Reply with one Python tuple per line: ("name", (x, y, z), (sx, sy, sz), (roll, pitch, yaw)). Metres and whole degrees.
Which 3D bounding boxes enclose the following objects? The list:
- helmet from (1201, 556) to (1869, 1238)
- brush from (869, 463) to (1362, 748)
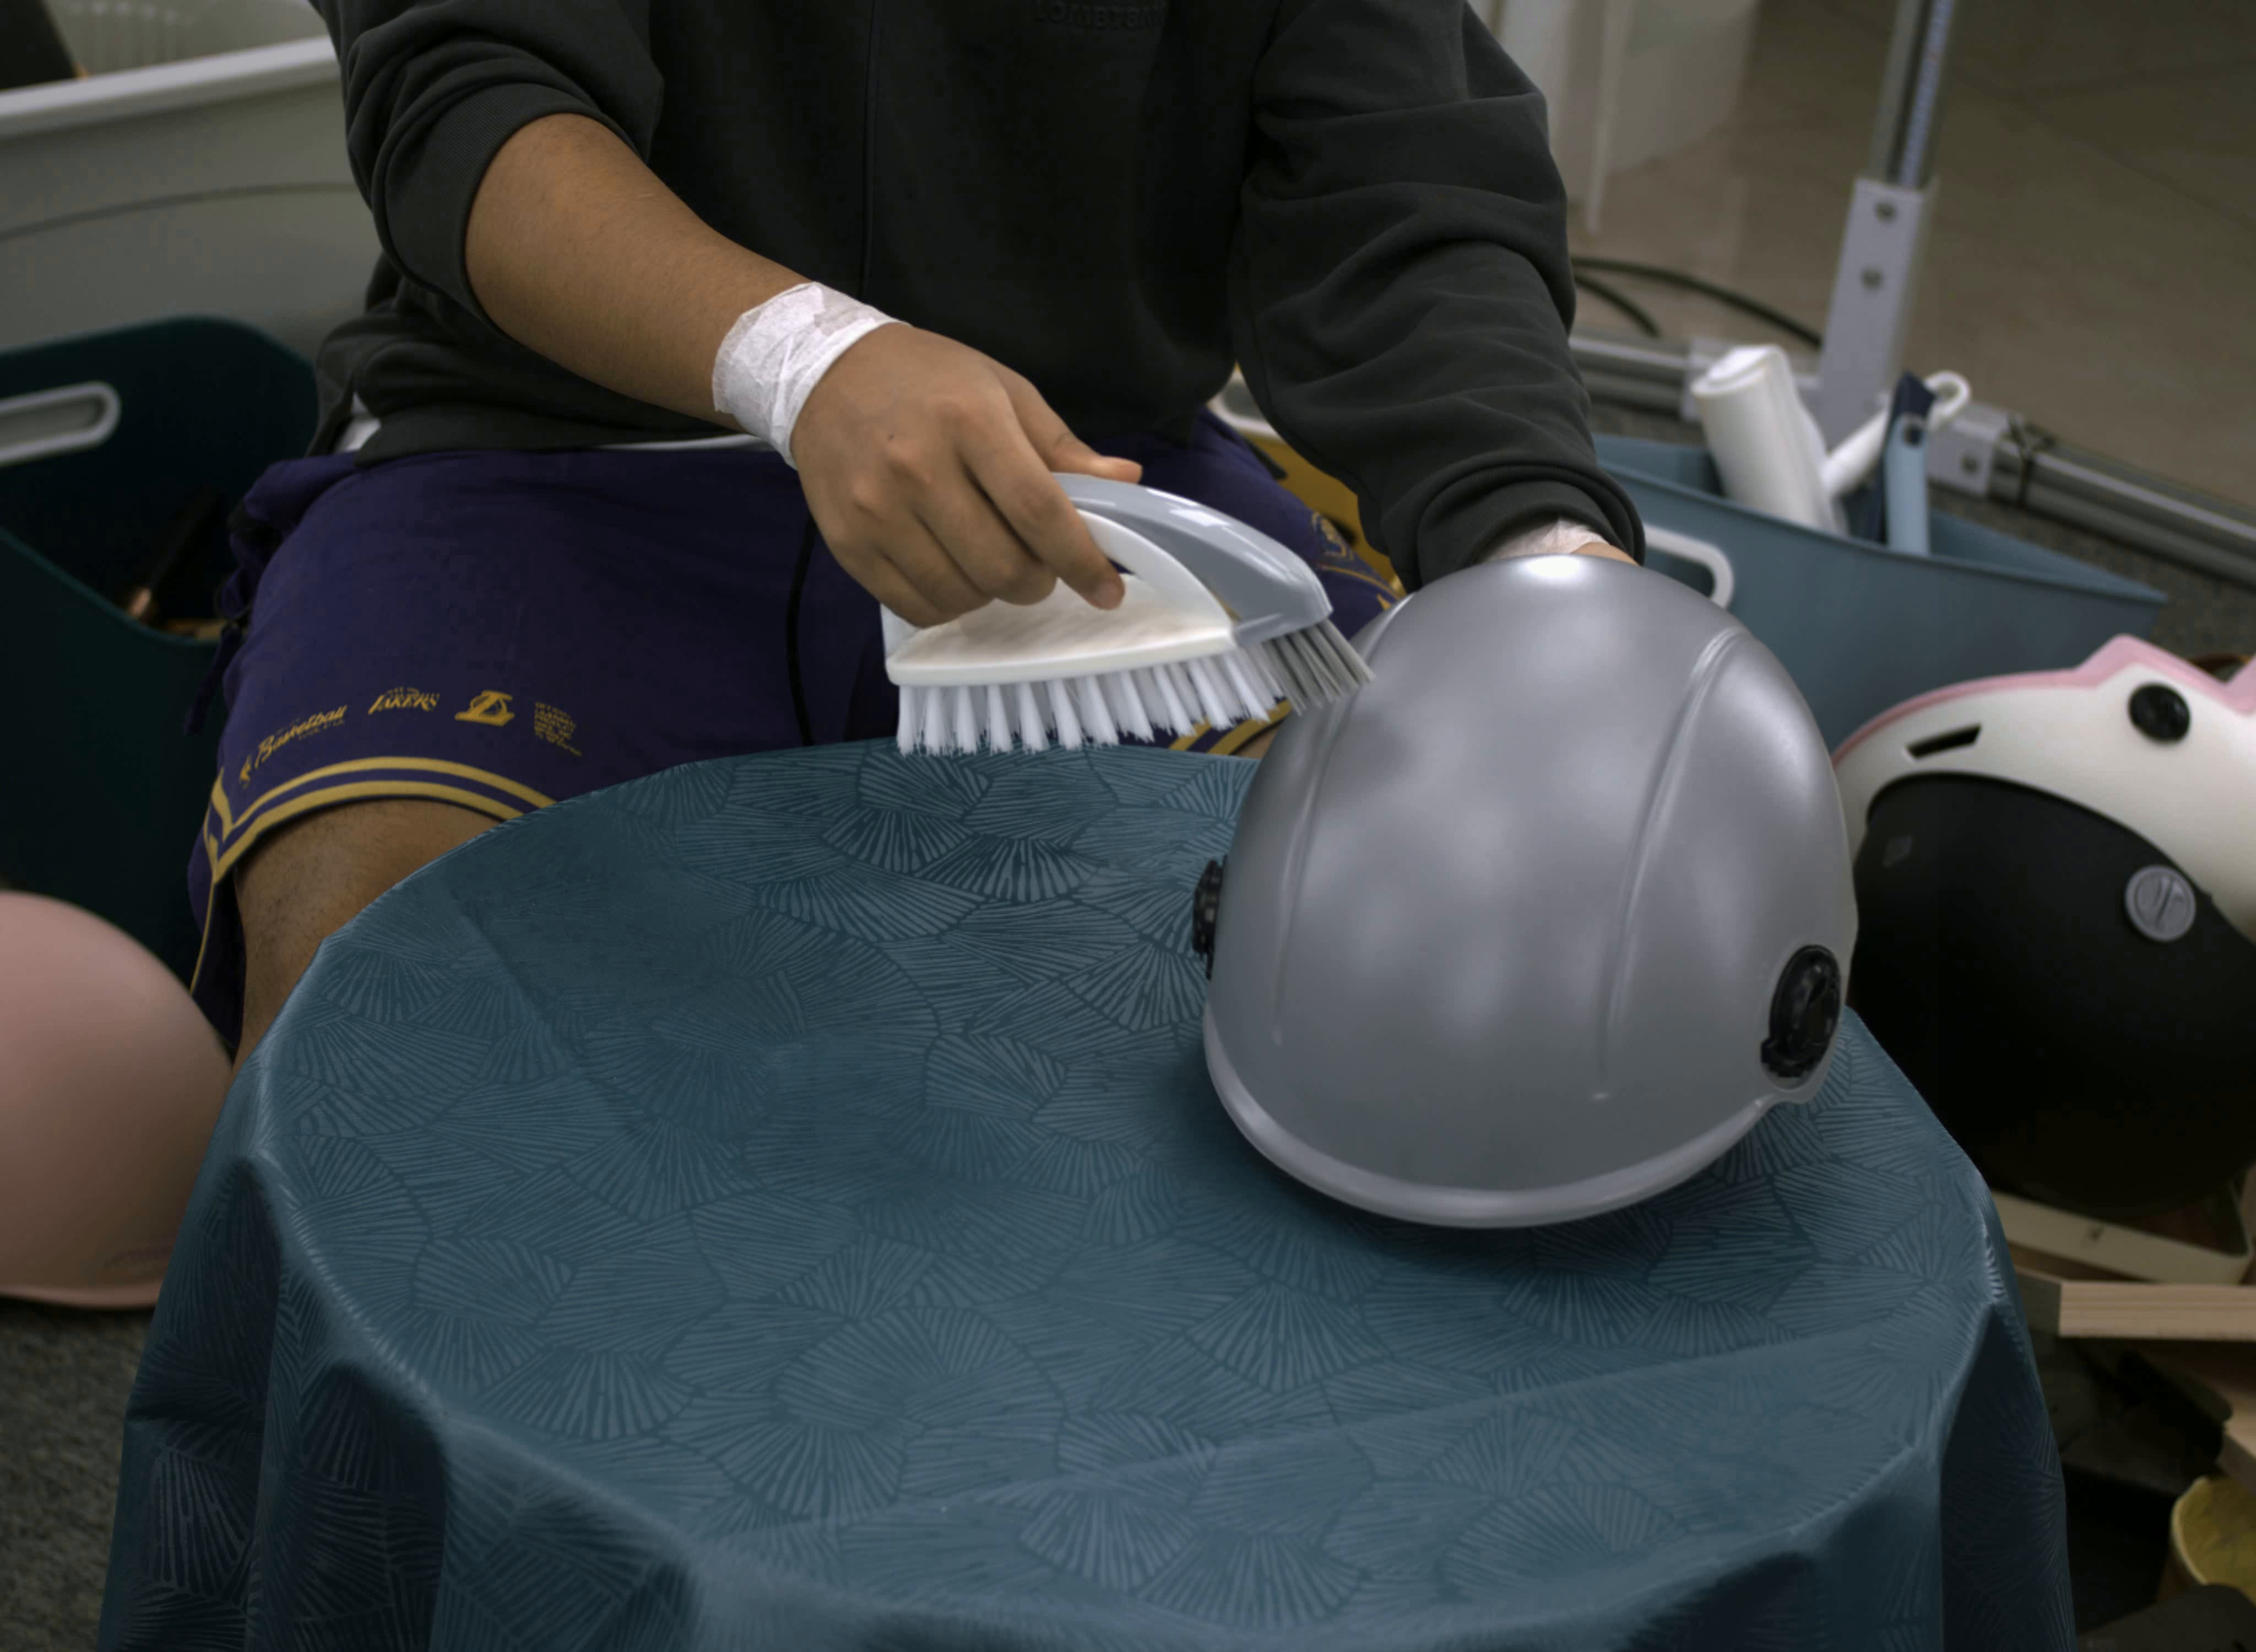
("helmet", (0.142, 0.003, 1.847), (0.232, 0.168, 0.277), (8, 31, 20))
("brush", (-0.009, -0.081, 1.807), (0.176, 0.093, 0.061), (-1, 33, 30))
